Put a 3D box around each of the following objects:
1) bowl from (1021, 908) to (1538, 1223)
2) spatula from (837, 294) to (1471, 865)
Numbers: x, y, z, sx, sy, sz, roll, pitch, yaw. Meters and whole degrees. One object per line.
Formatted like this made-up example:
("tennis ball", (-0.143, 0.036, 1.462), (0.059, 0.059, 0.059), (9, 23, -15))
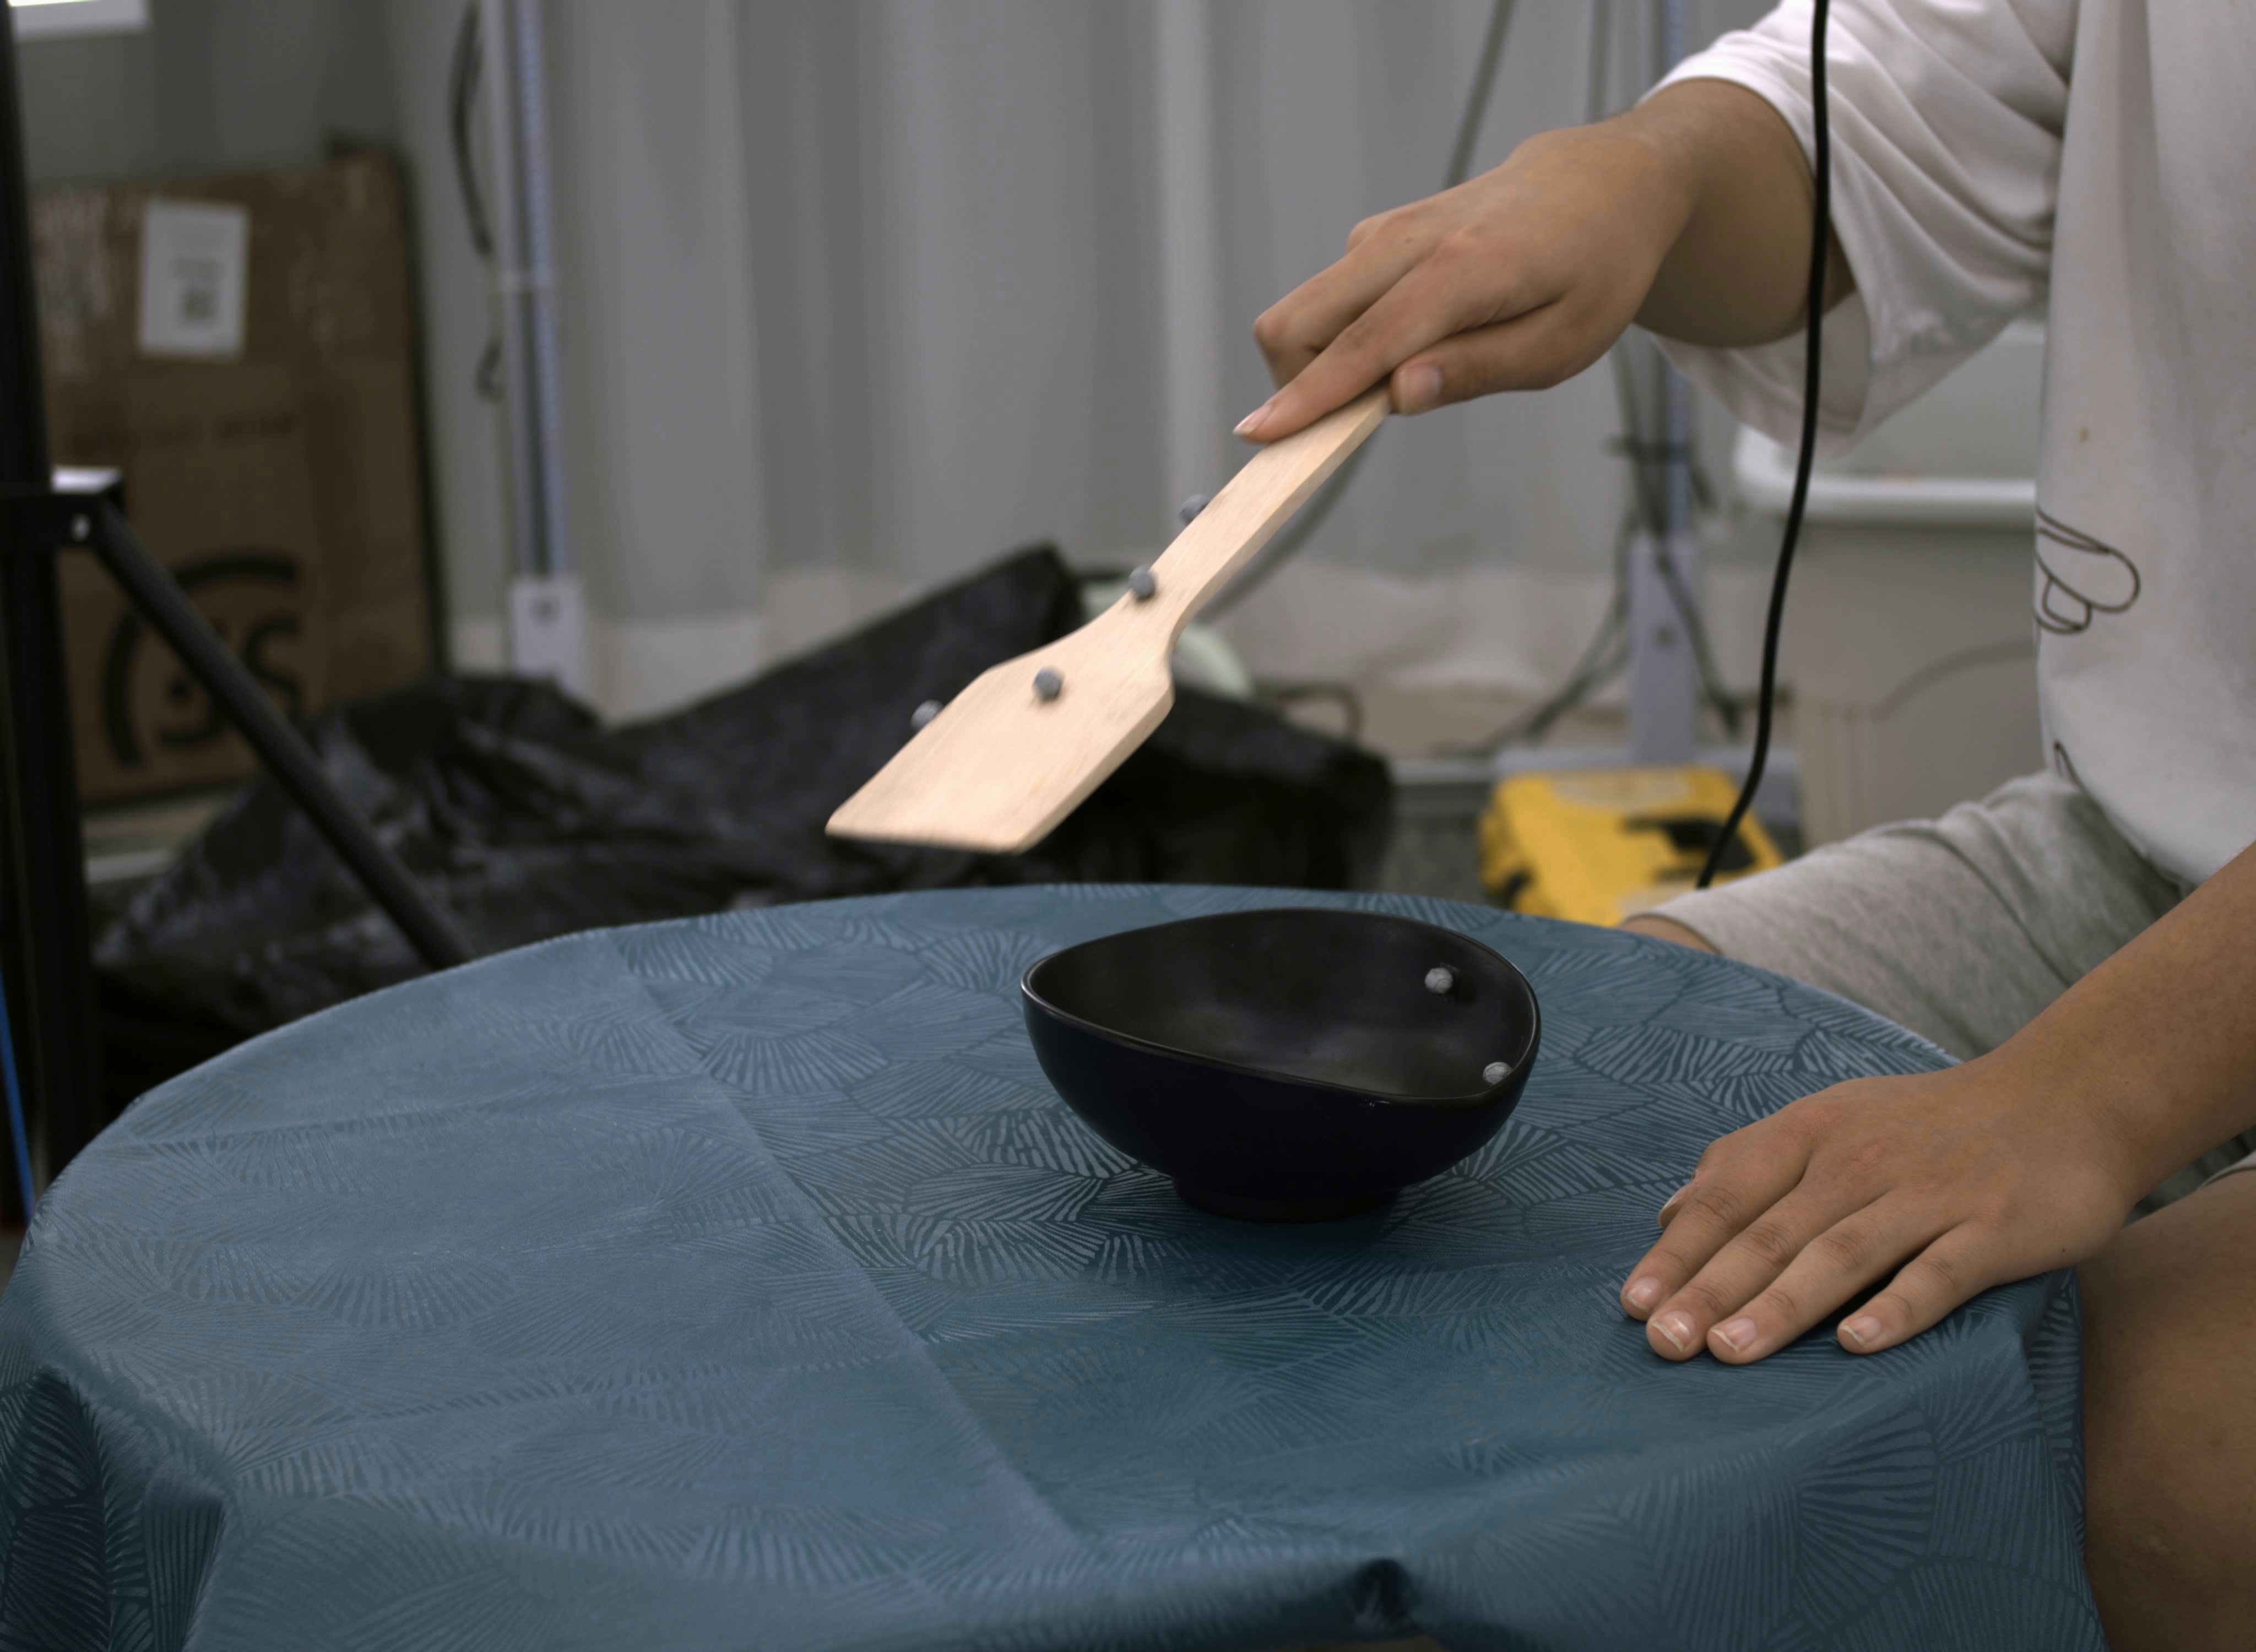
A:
("bowl", (0.045, 0.074, 1.554), (0.134, 0.067, 0.174), (-16, 22, -41))
("spatula", (0.020, -0.075, 1.538), (0.074, 0.010, 0.290), (5, 39, 38))
